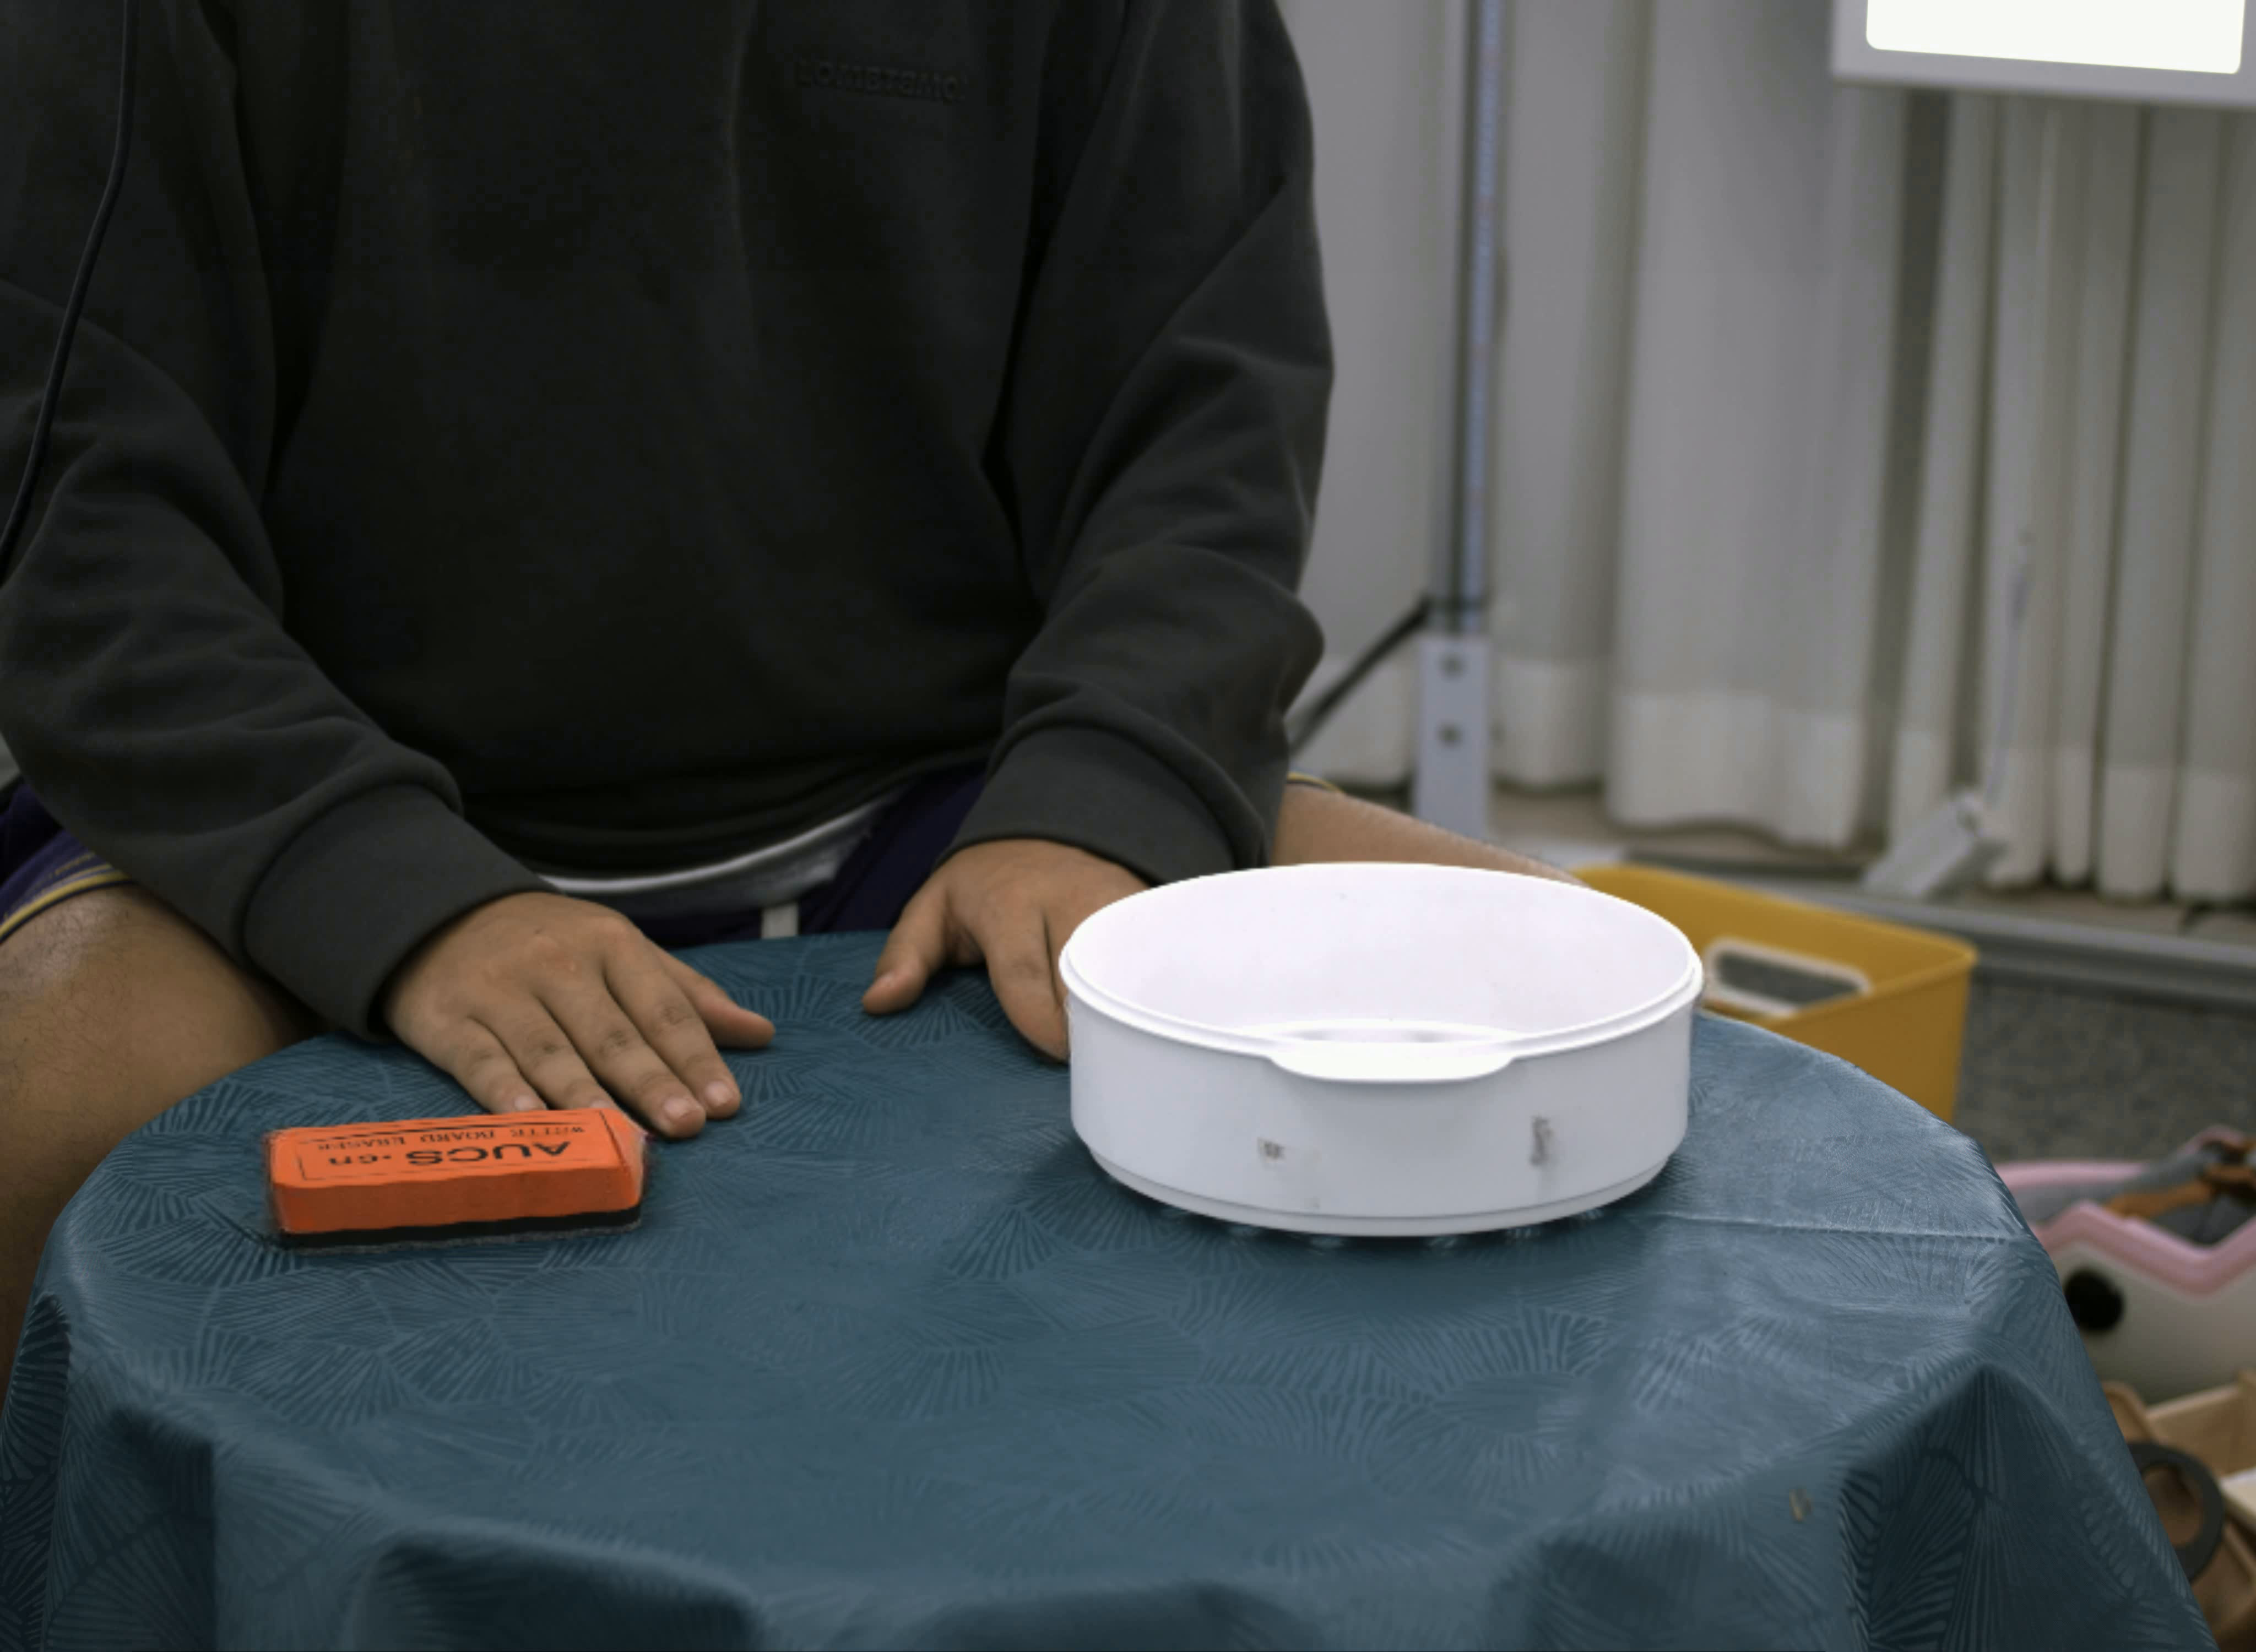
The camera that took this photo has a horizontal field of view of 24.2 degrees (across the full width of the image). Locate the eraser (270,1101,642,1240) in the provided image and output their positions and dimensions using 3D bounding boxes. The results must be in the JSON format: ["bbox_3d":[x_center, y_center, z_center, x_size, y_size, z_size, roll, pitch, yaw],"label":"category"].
[{"bbox_3d":[-0.203,0.103,1.590,0.108,0.023,0.058,-5,10,-14],"label":"eraser"}]

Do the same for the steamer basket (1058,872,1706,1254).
[{"bbox_3d":[0.079,0.074,1.646,0.201,0.070,0.229,0,16,-1],"label":"steamer basket"}]
